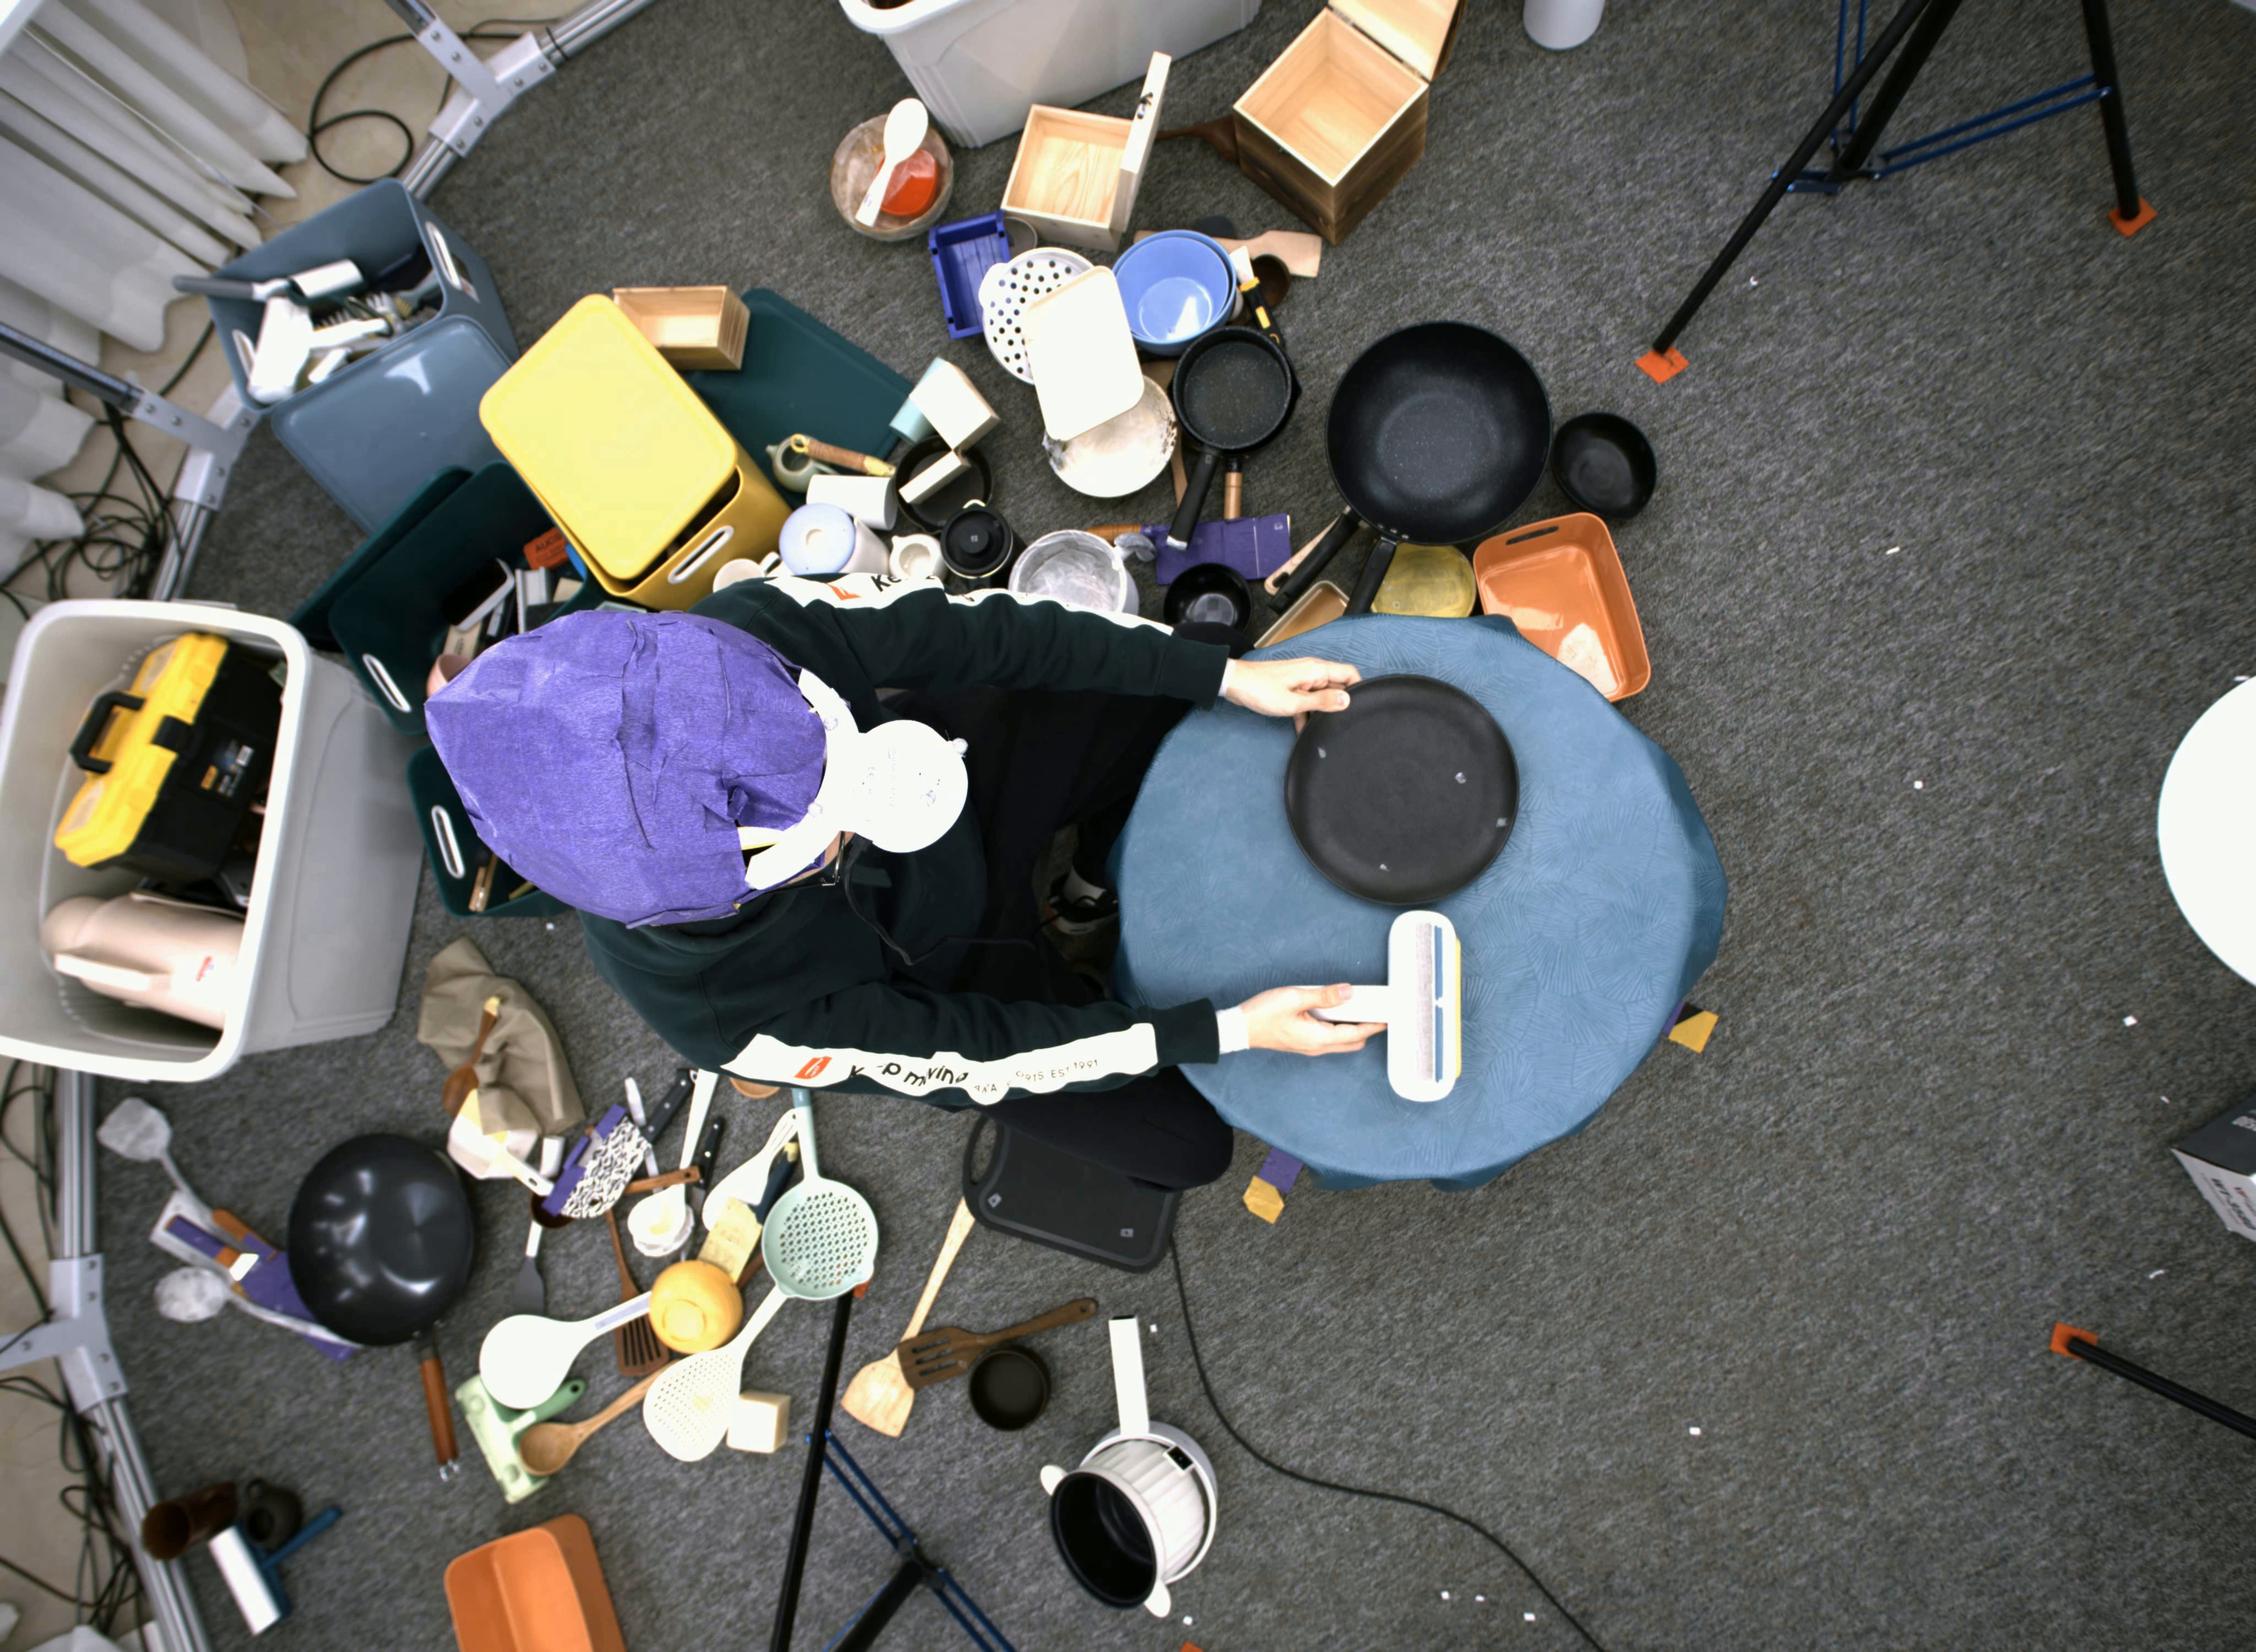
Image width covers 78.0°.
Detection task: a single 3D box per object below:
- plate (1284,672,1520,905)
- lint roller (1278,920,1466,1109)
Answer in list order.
[{"bbox_3d":[0.285,-0.040,1.440,0.245,0.023,0.244,0,90,10],"label":"plate"},{"bbox_3d":[0.246,0.187,1.433,0.193,0.074,0.191,5,80,19],"label":"lint roller"}]
